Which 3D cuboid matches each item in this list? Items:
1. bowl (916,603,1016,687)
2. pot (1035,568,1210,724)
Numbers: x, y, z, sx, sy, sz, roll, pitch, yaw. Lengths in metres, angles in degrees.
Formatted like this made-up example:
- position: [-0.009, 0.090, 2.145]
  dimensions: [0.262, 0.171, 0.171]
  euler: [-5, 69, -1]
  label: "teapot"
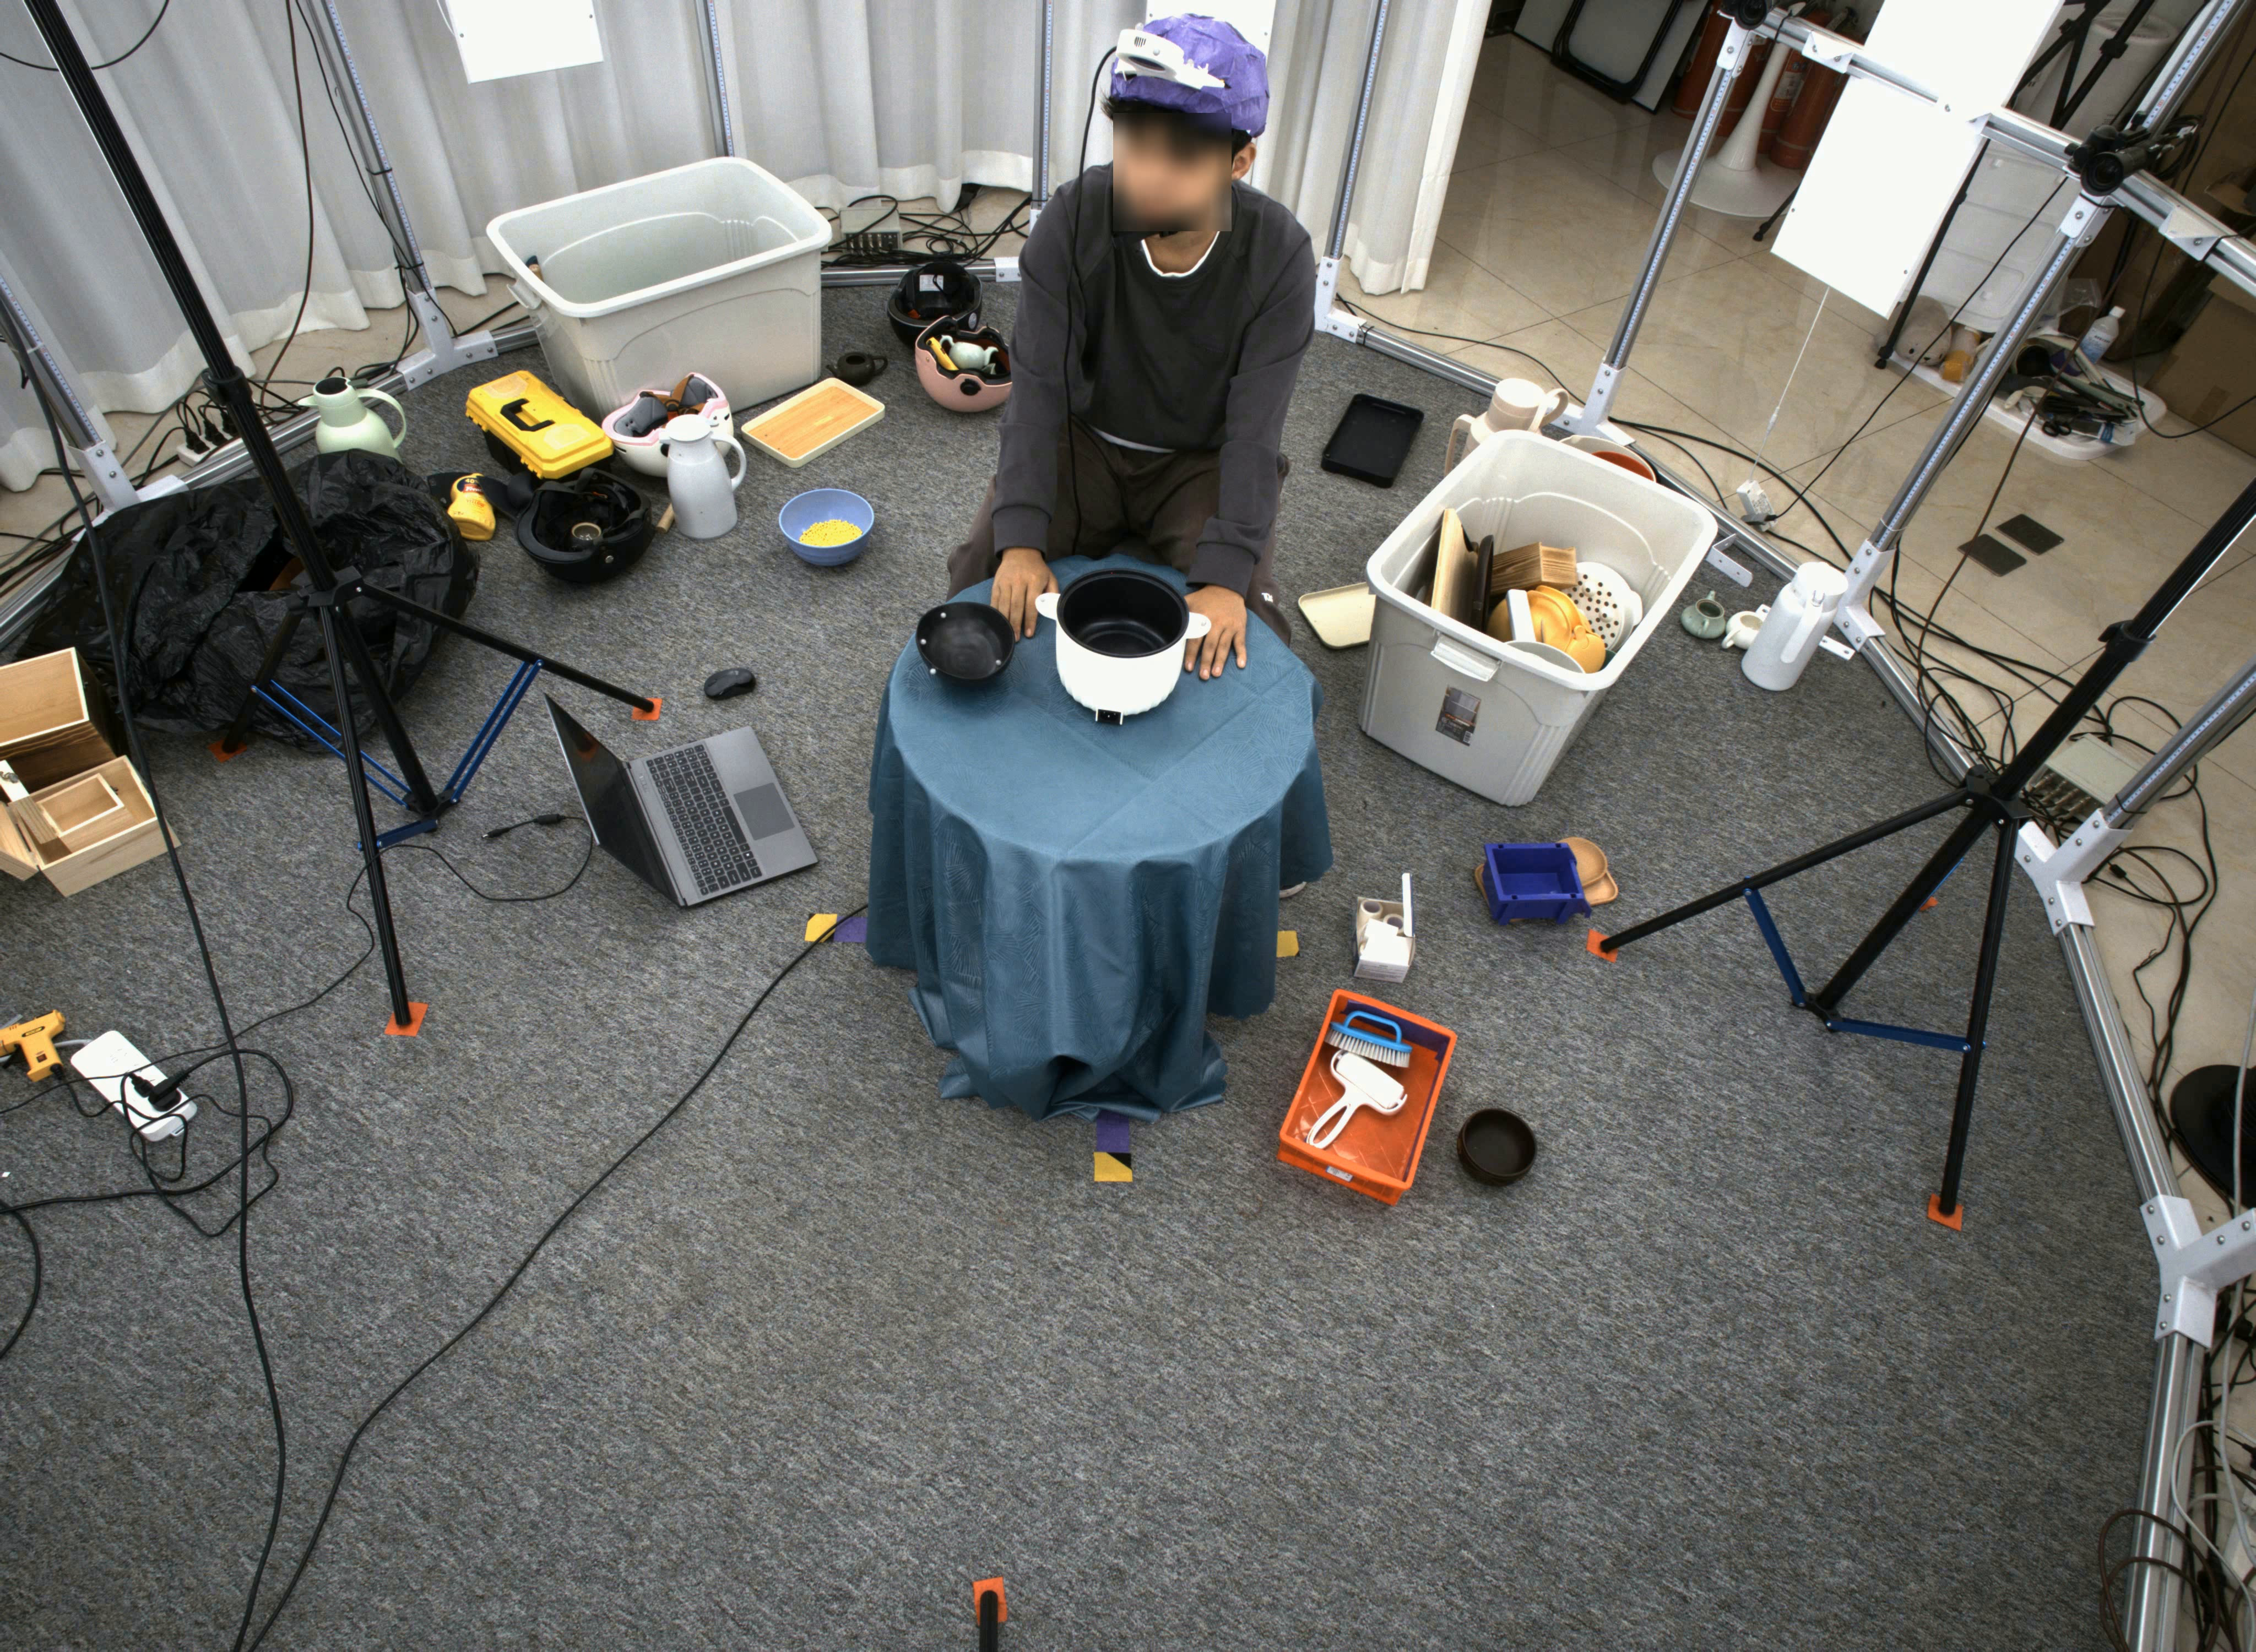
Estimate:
- position: [-0.228, -0.248, 1.822]
  dimensions: [0.137, 0.065, 0.174]
  euler: [-9, 49, -13]
  label: "bowl"
- position: [-0.012, -0.254, 1.796]
  dimensions: [0.240, 0.139, 0.195]
  euler: [8, 52, 1]
  label: "pot"
